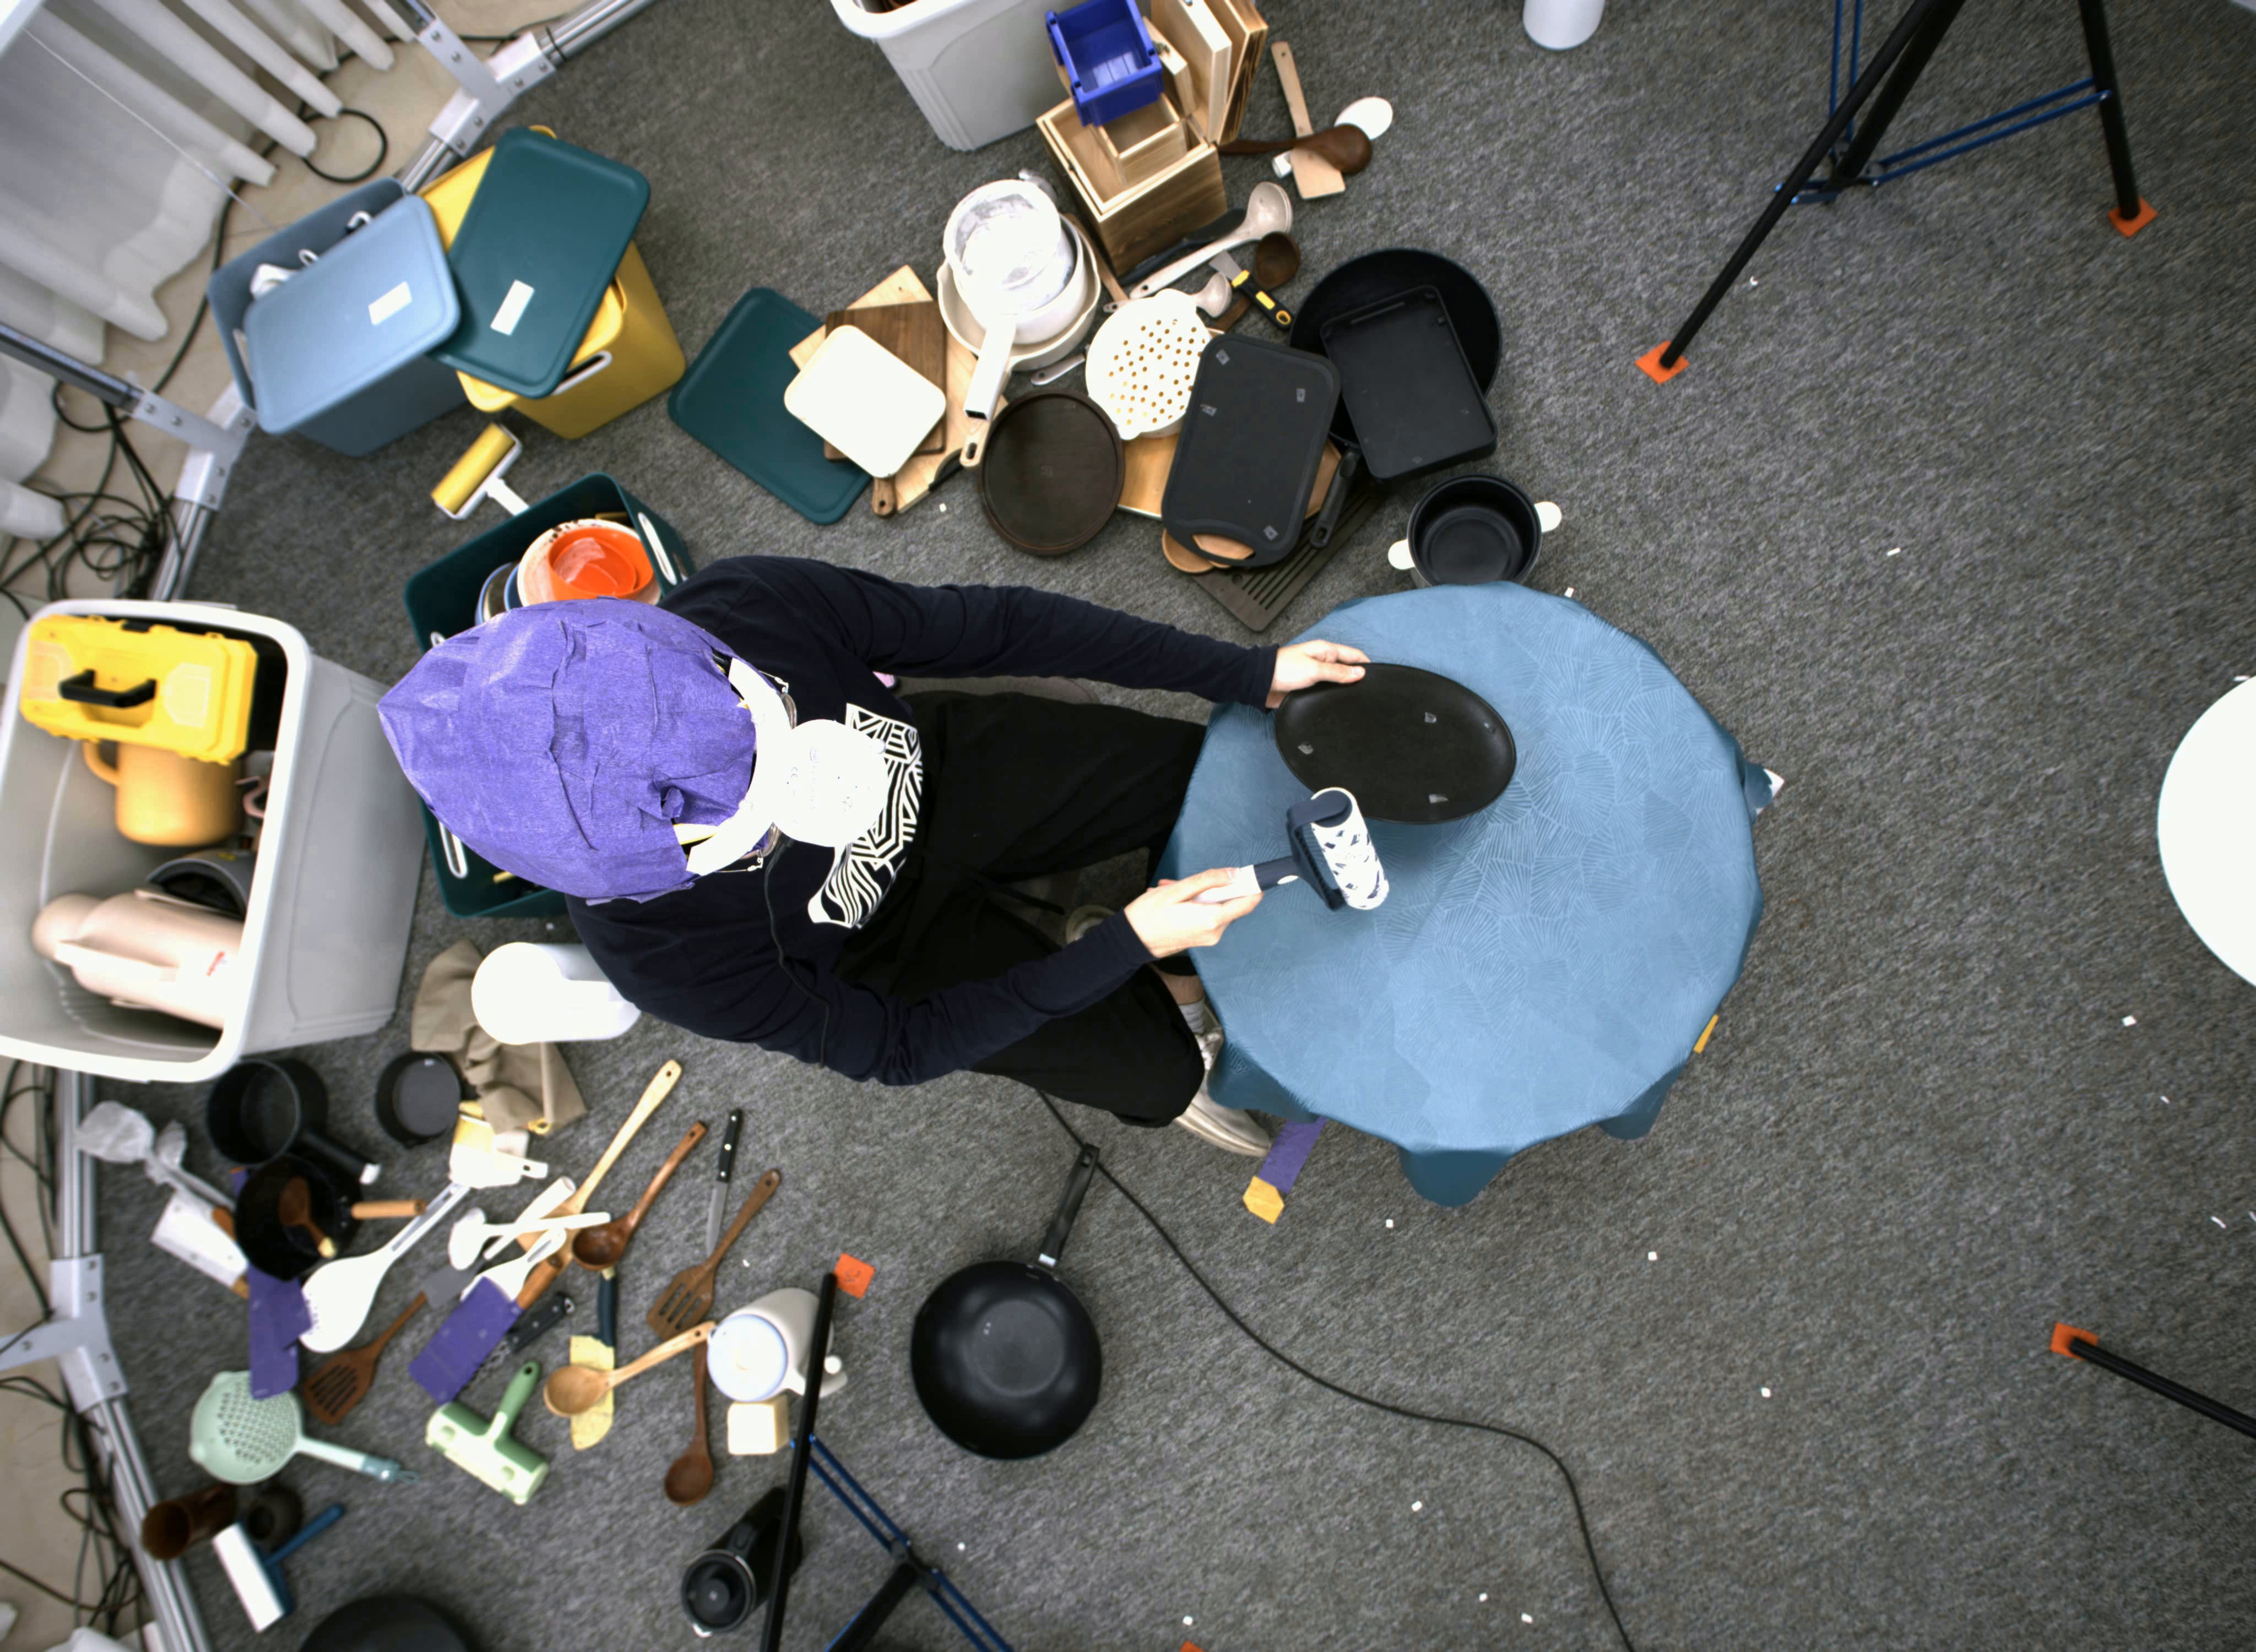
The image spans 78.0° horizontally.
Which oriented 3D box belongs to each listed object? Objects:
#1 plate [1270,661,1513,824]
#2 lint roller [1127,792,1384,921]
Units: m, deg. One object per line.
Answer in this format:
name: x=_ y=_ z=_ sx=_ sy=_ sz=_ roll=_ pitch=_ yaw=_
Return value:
plate: x=0.263 y=-0.083 z=1.380 sx=0.244 sy=0.024 sz=0.238 roll=1 pitch=47 yaw=-1
lint roller: x=0.118 y=0.056 z=1.350 sx=0.249 sy=0.179 sz=0.049 roll=-19 pitch=57 yaw=13
